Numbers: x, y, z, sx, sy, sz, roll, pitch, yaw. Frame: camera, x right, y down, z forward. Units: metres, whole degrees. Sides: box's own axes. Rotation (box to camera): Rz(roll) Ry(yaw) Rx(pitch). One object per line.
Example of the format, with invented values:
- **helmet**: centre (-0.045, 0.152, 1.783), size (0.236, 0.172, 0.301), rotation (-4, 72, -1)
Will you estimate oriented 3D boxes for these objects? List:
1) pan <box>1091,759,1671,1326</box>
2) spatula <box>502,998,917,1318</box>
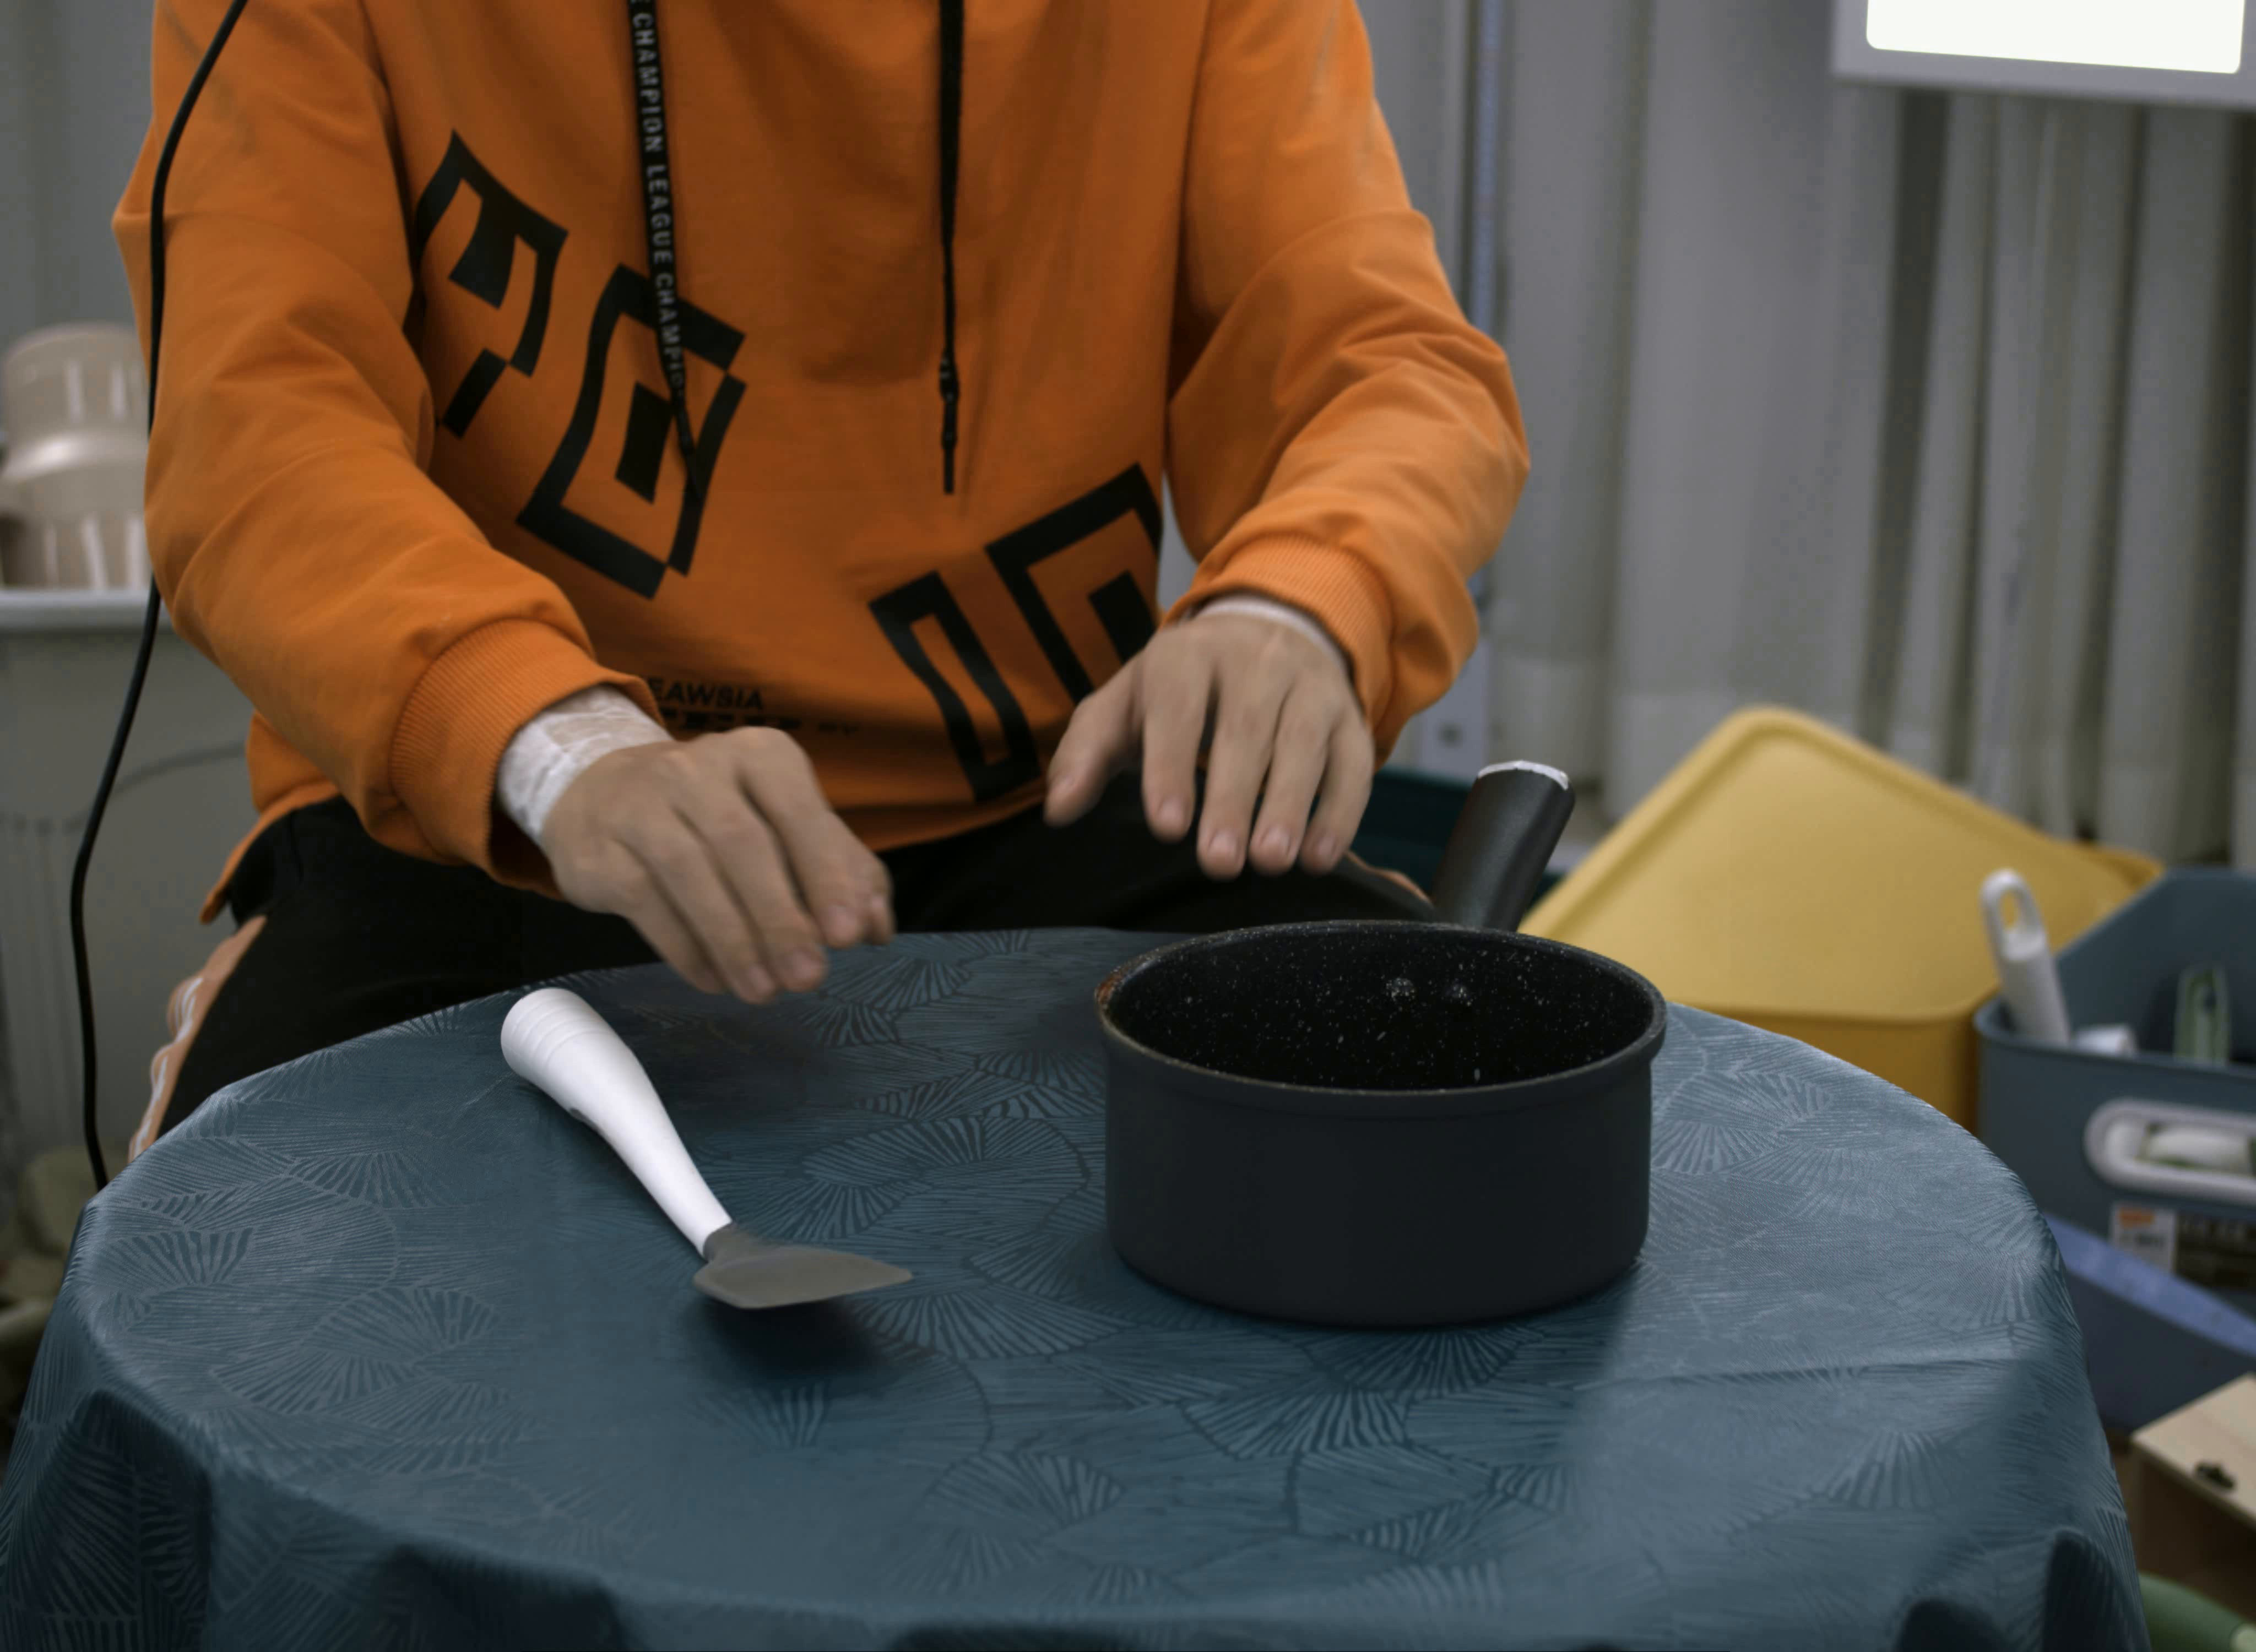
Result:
- **pan**: centre (0.098, 0.063, 1.643), size (0.170, 0.087, 0.328), rotation (6, 18, 16)
- **spatula**: centre (-0.134, 0.105, 1.586), size (0.059, 0.032, 0.284), rotation (-5, 16, -22)
